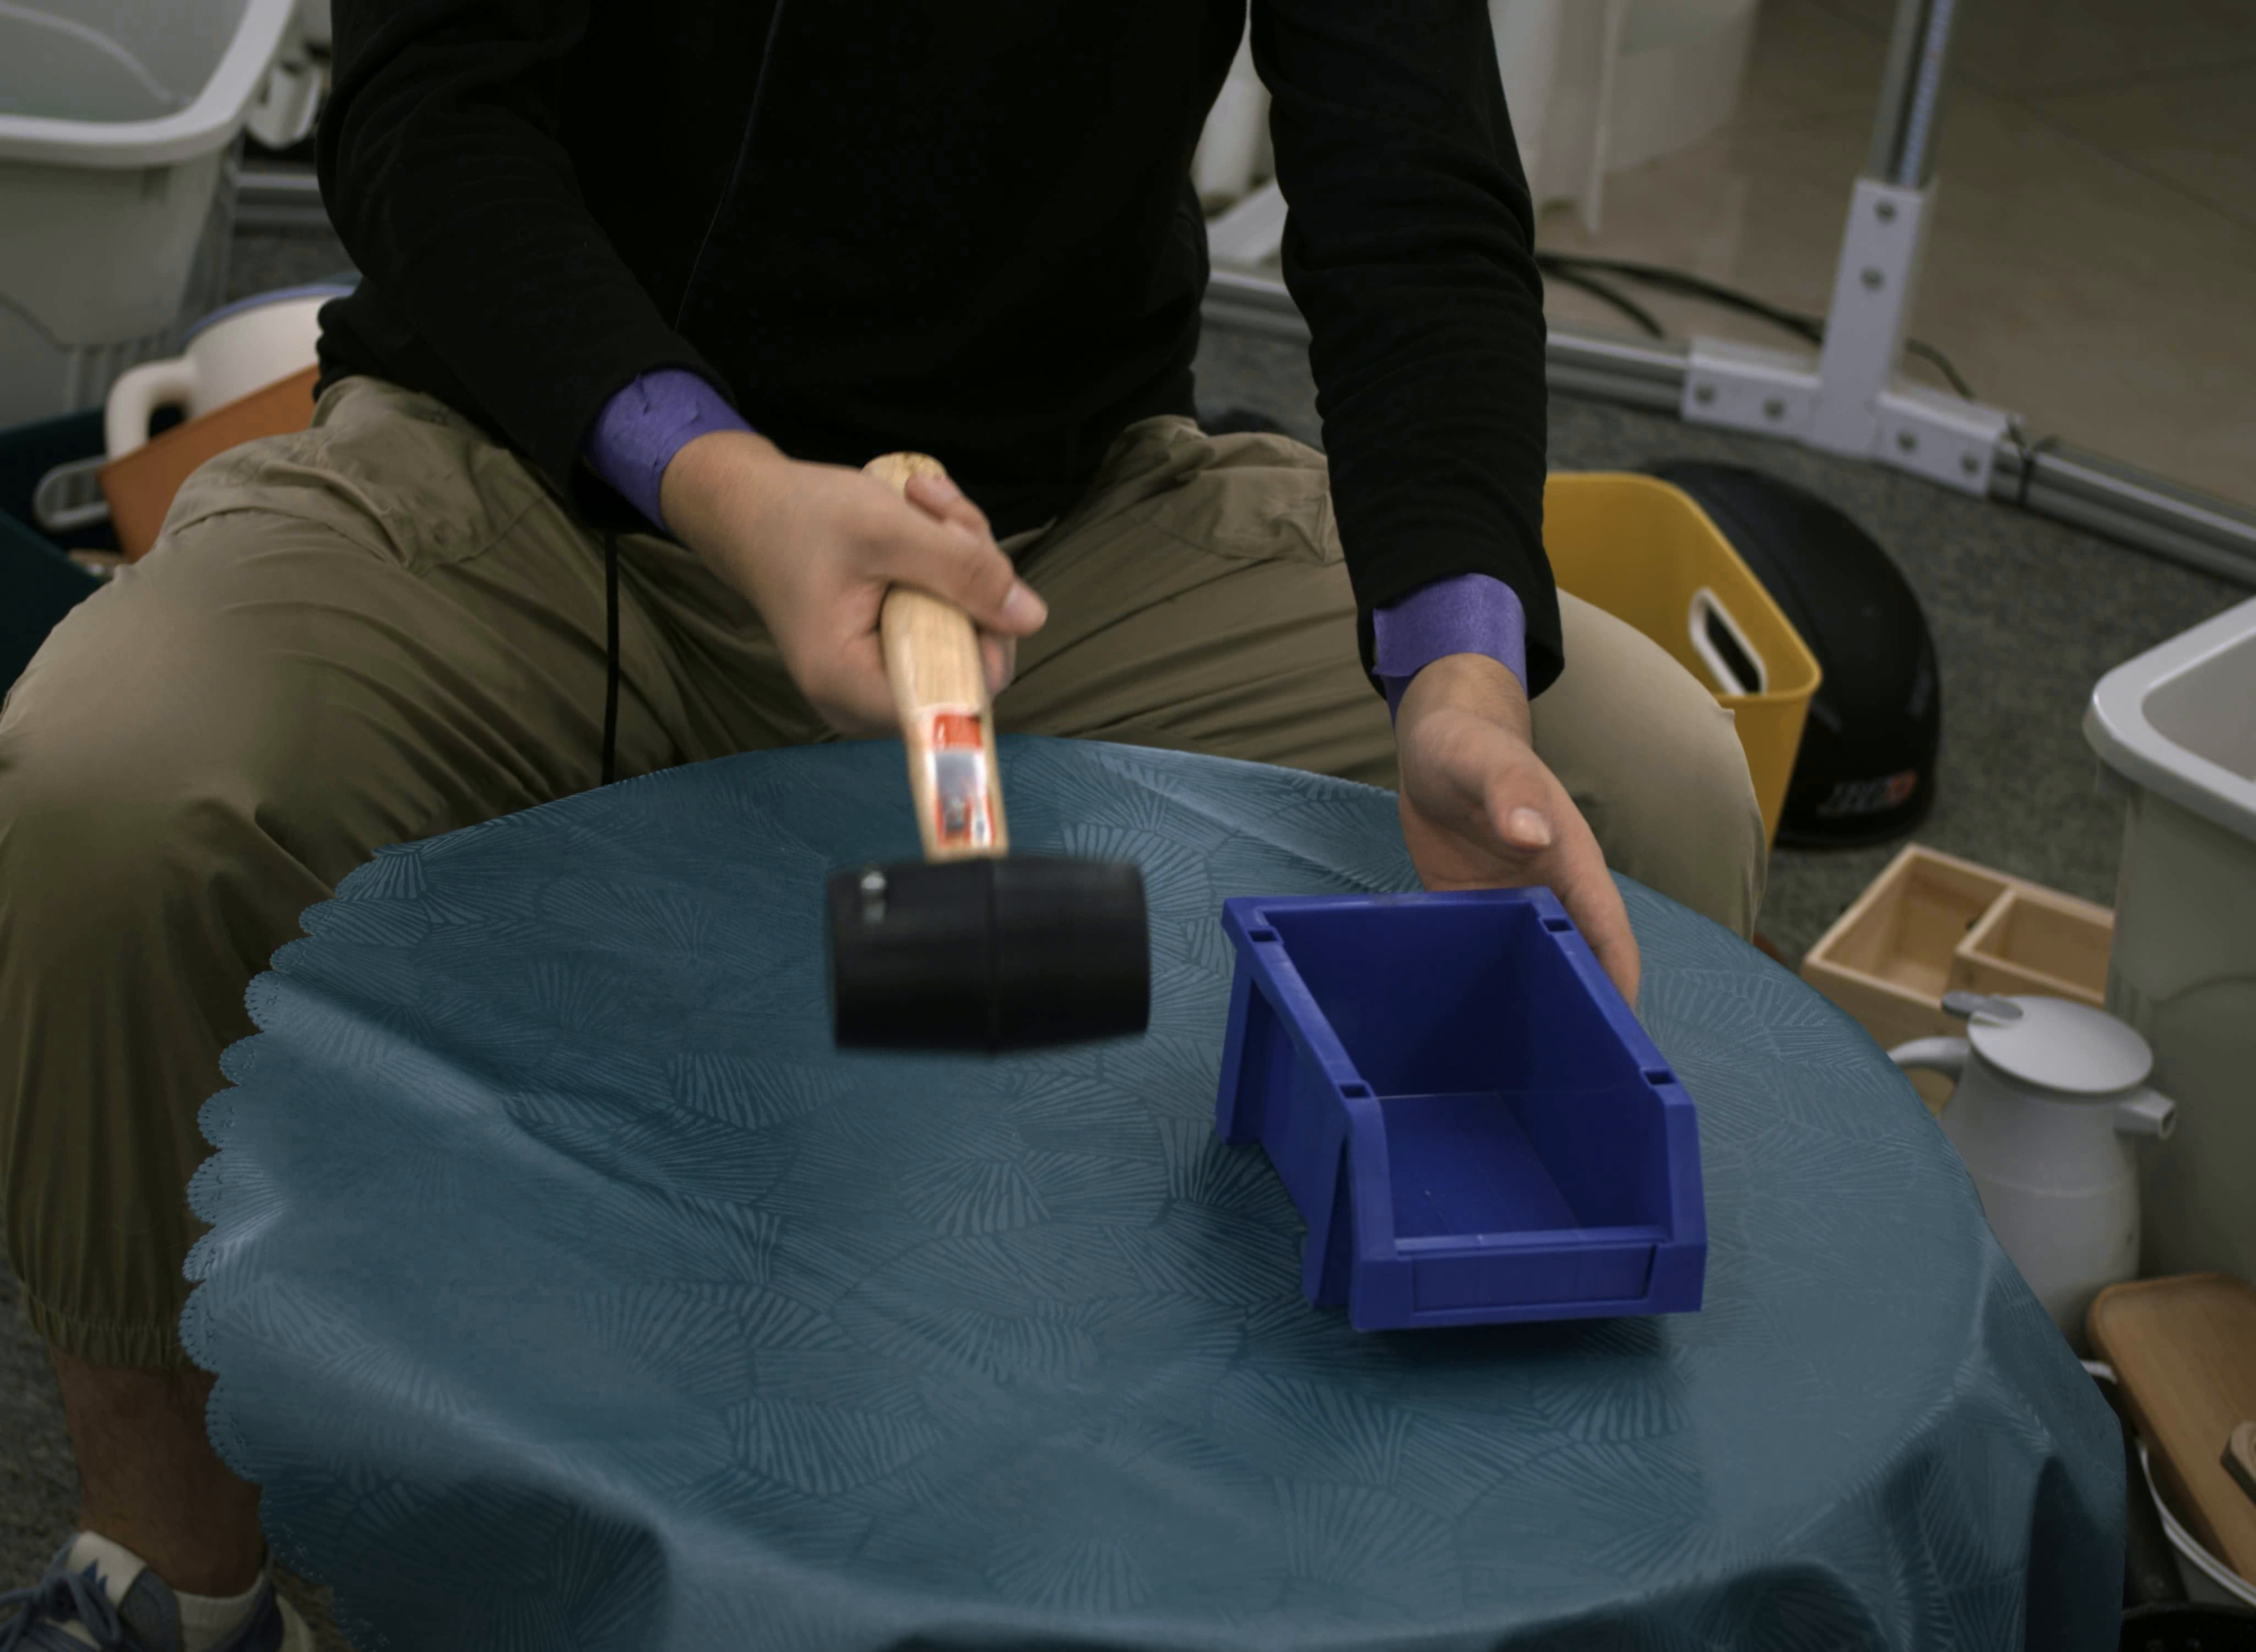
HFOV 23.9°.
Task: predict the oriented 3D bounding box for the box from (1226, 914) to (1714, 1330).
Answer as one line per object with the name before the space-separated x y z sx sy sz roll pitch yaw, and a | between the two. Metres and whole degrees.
box | 0.113 0.104 1.780 0.124 0.081 0.181 -1 23 -15

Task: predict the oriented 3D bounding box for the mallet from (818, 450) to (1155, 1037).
mallet | -0.059 -0.044 1.747 0.101 0.064 0.342 1 33 -8
